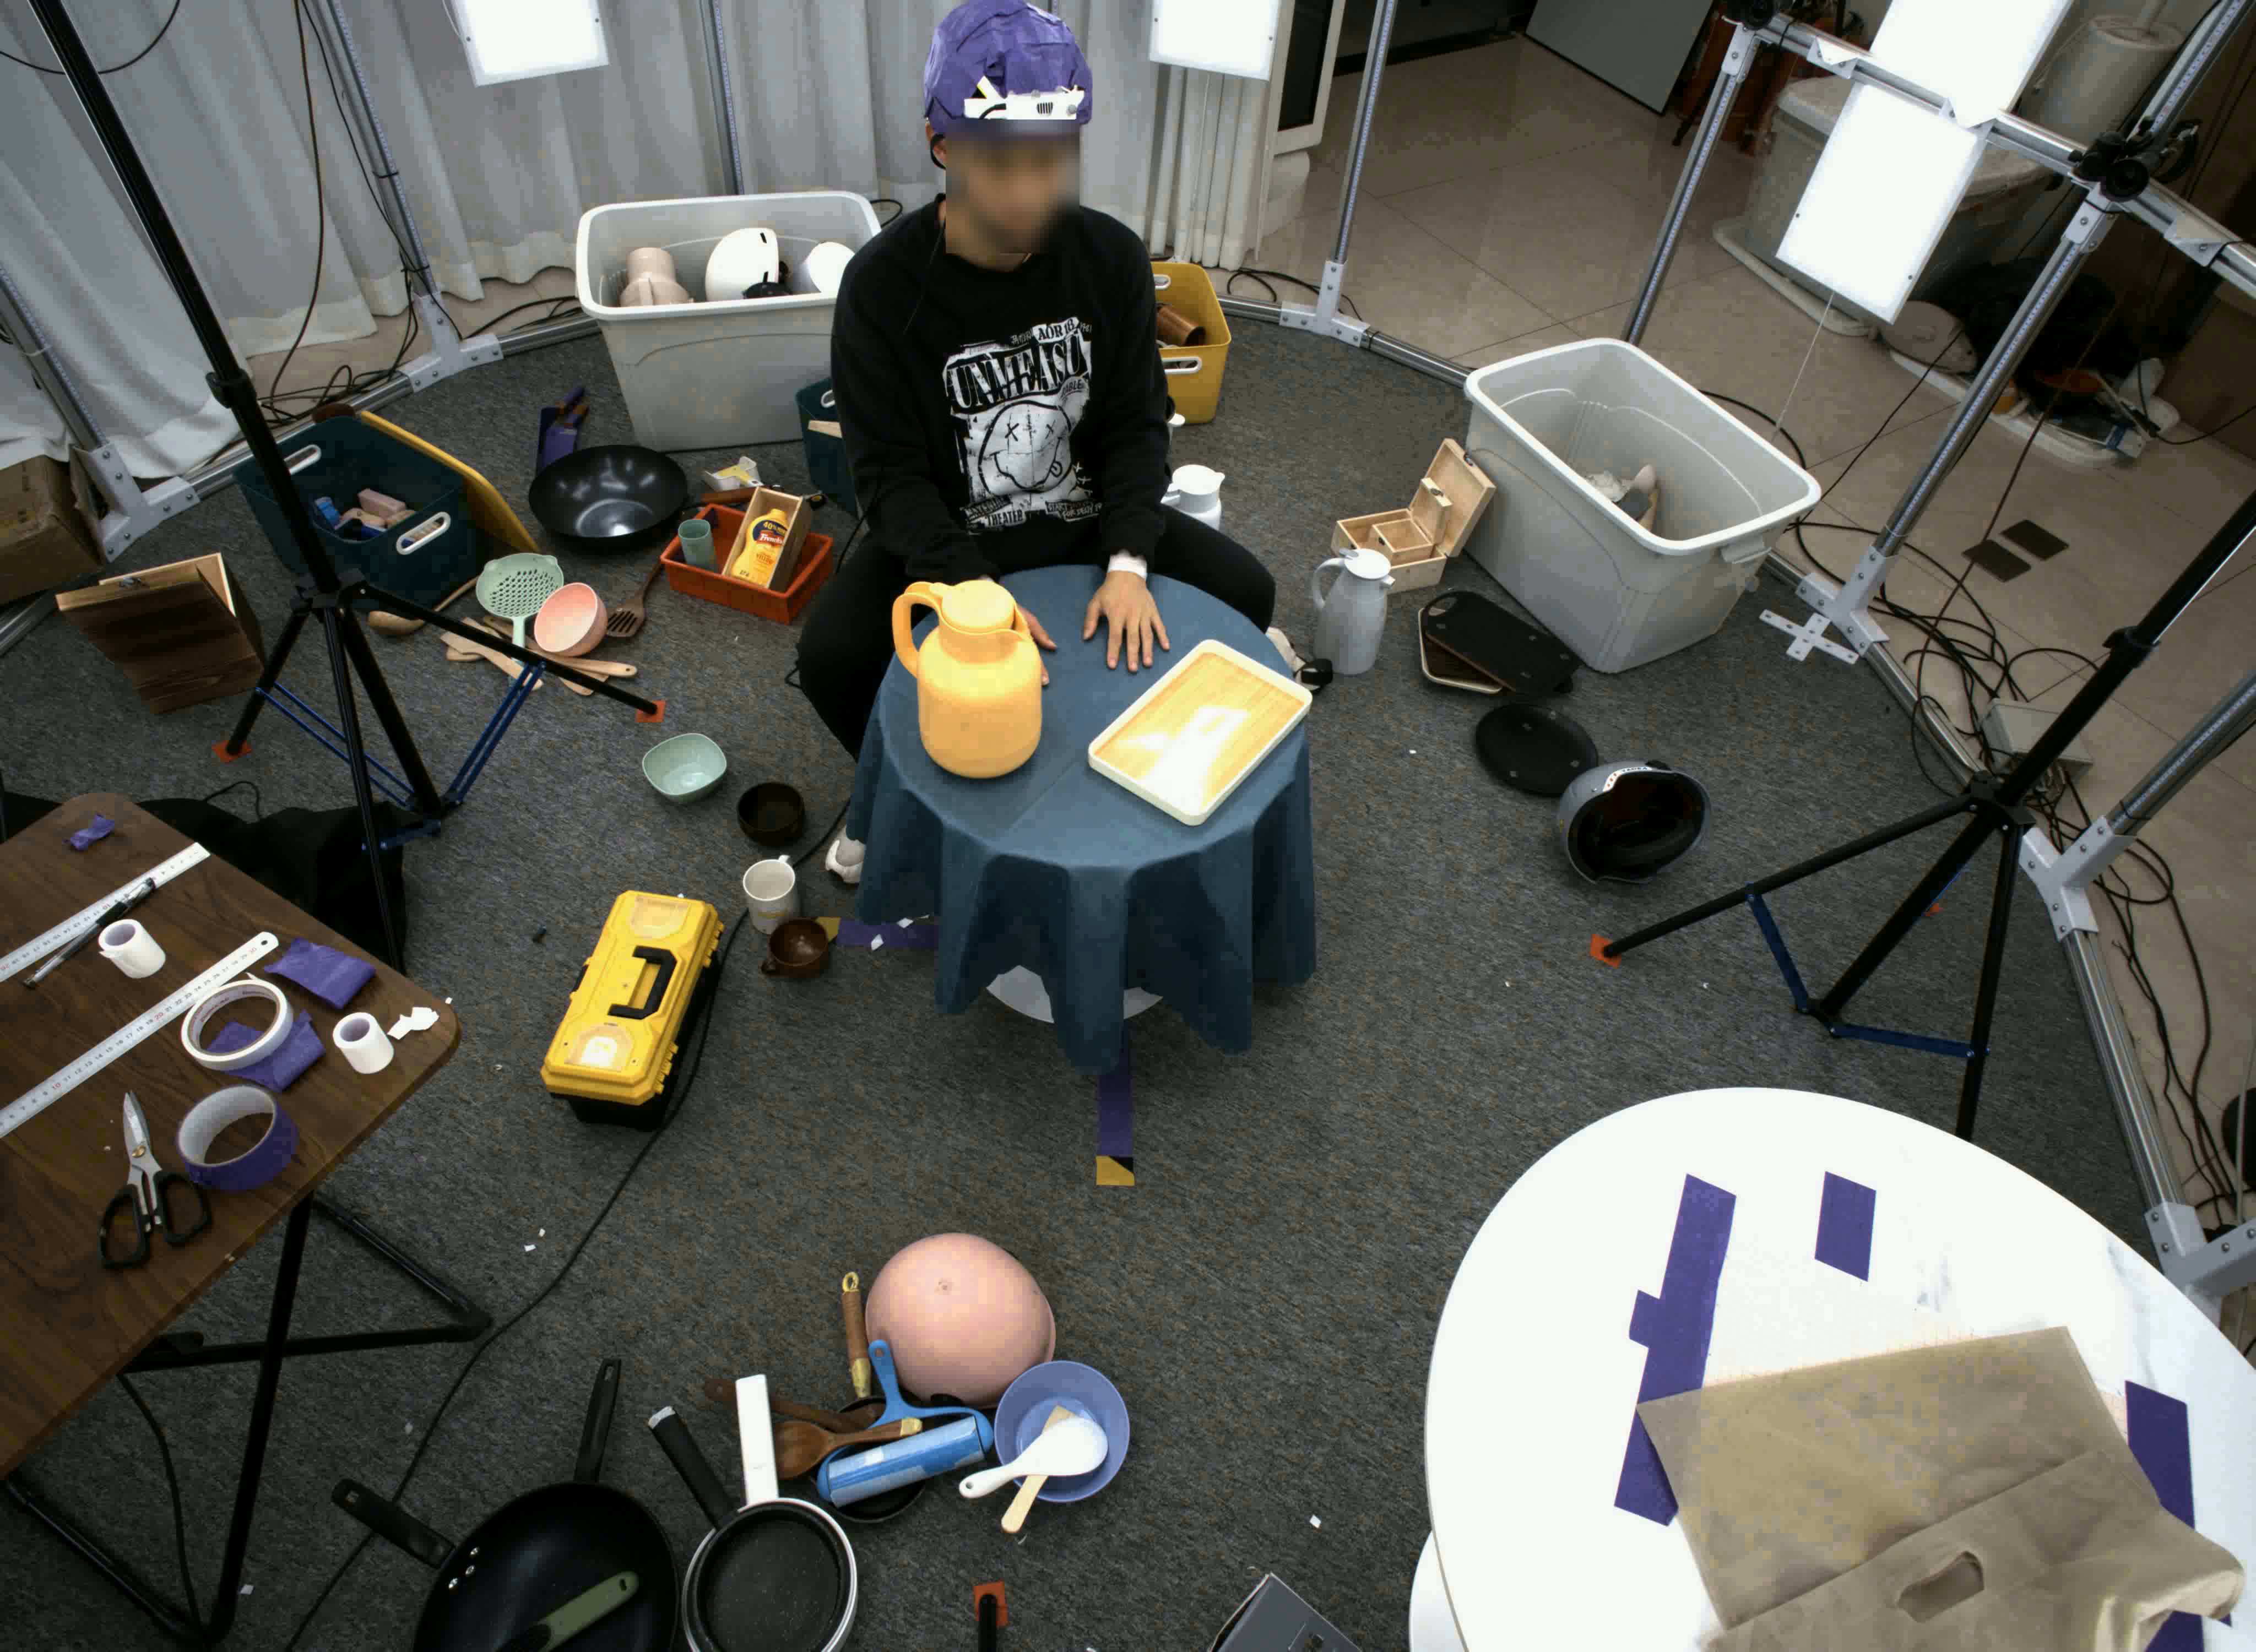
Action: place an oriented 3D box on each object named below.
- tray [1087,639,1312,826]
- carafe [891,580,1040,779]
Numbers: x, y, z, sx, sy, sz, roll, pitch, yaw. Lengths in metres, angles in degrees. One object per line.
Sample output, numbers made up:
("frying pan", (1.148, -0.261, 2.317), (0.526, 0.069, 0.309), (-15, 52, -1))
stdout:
("tray", (0.102, -0.136, 1.776), (0.194, 0.027, 0.304), (31, 54, 21))
("carafe", (-0.210, -0.202, 1.663), (0.204, 0.254, 0.166), (26, 50, 16))
